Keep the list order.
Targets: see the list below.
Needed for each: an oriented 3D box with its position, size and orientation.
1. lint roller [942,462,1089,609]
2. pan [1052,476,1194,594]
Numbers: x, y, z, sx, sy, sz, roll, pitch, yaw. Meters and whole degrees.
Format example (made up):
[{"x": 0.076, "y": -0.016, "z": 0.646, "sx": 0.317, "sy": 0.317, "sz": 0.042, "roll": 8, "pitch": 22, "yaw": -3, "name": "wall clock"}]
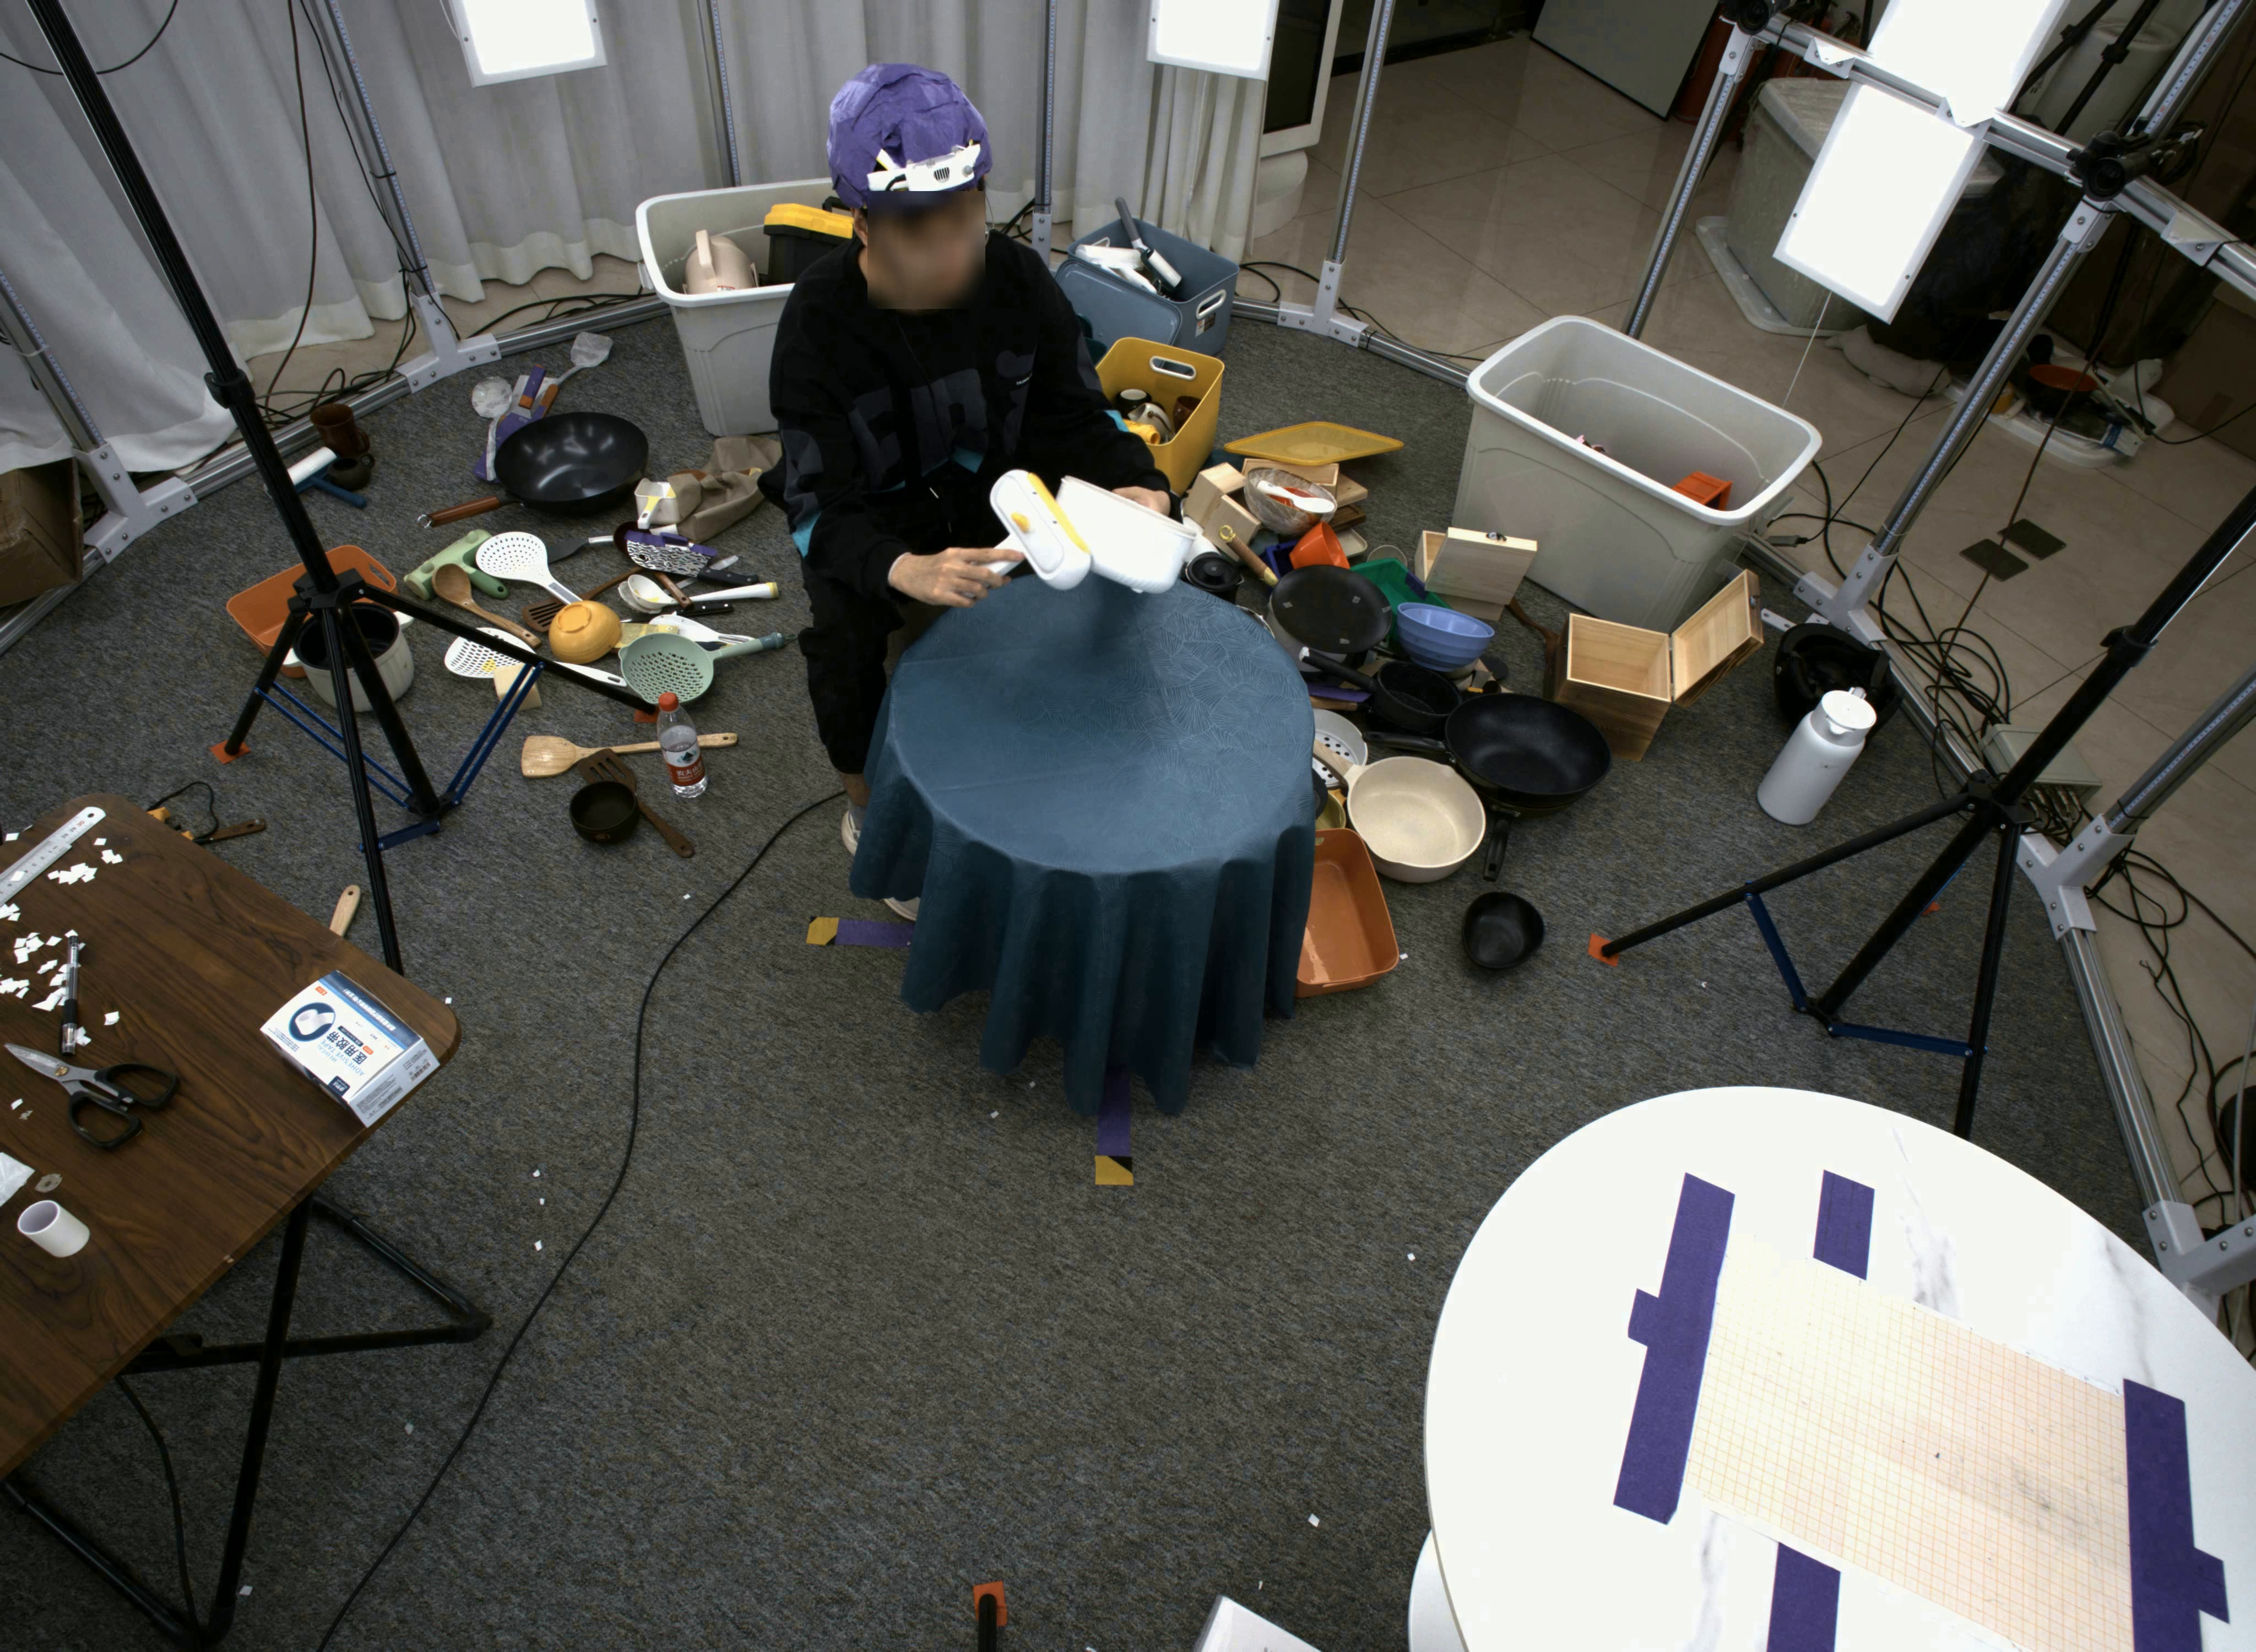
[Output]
[{"x": -0.163, "y": -0.361, "z": 1.703, "sx": 0.191, "sy": 0.073, "sz": 0.196, "roll": -45, "pitch": 66, "yaw": 15, "name": "lint roller"}, {"x": -0.016, "y": -0.416, "z": 1.844, "sx": 0.201, "sy": 0.101, "sz": 0.359, "roll": 22, "pitch": 15, "yaw": -5, "name": "pan"}]
